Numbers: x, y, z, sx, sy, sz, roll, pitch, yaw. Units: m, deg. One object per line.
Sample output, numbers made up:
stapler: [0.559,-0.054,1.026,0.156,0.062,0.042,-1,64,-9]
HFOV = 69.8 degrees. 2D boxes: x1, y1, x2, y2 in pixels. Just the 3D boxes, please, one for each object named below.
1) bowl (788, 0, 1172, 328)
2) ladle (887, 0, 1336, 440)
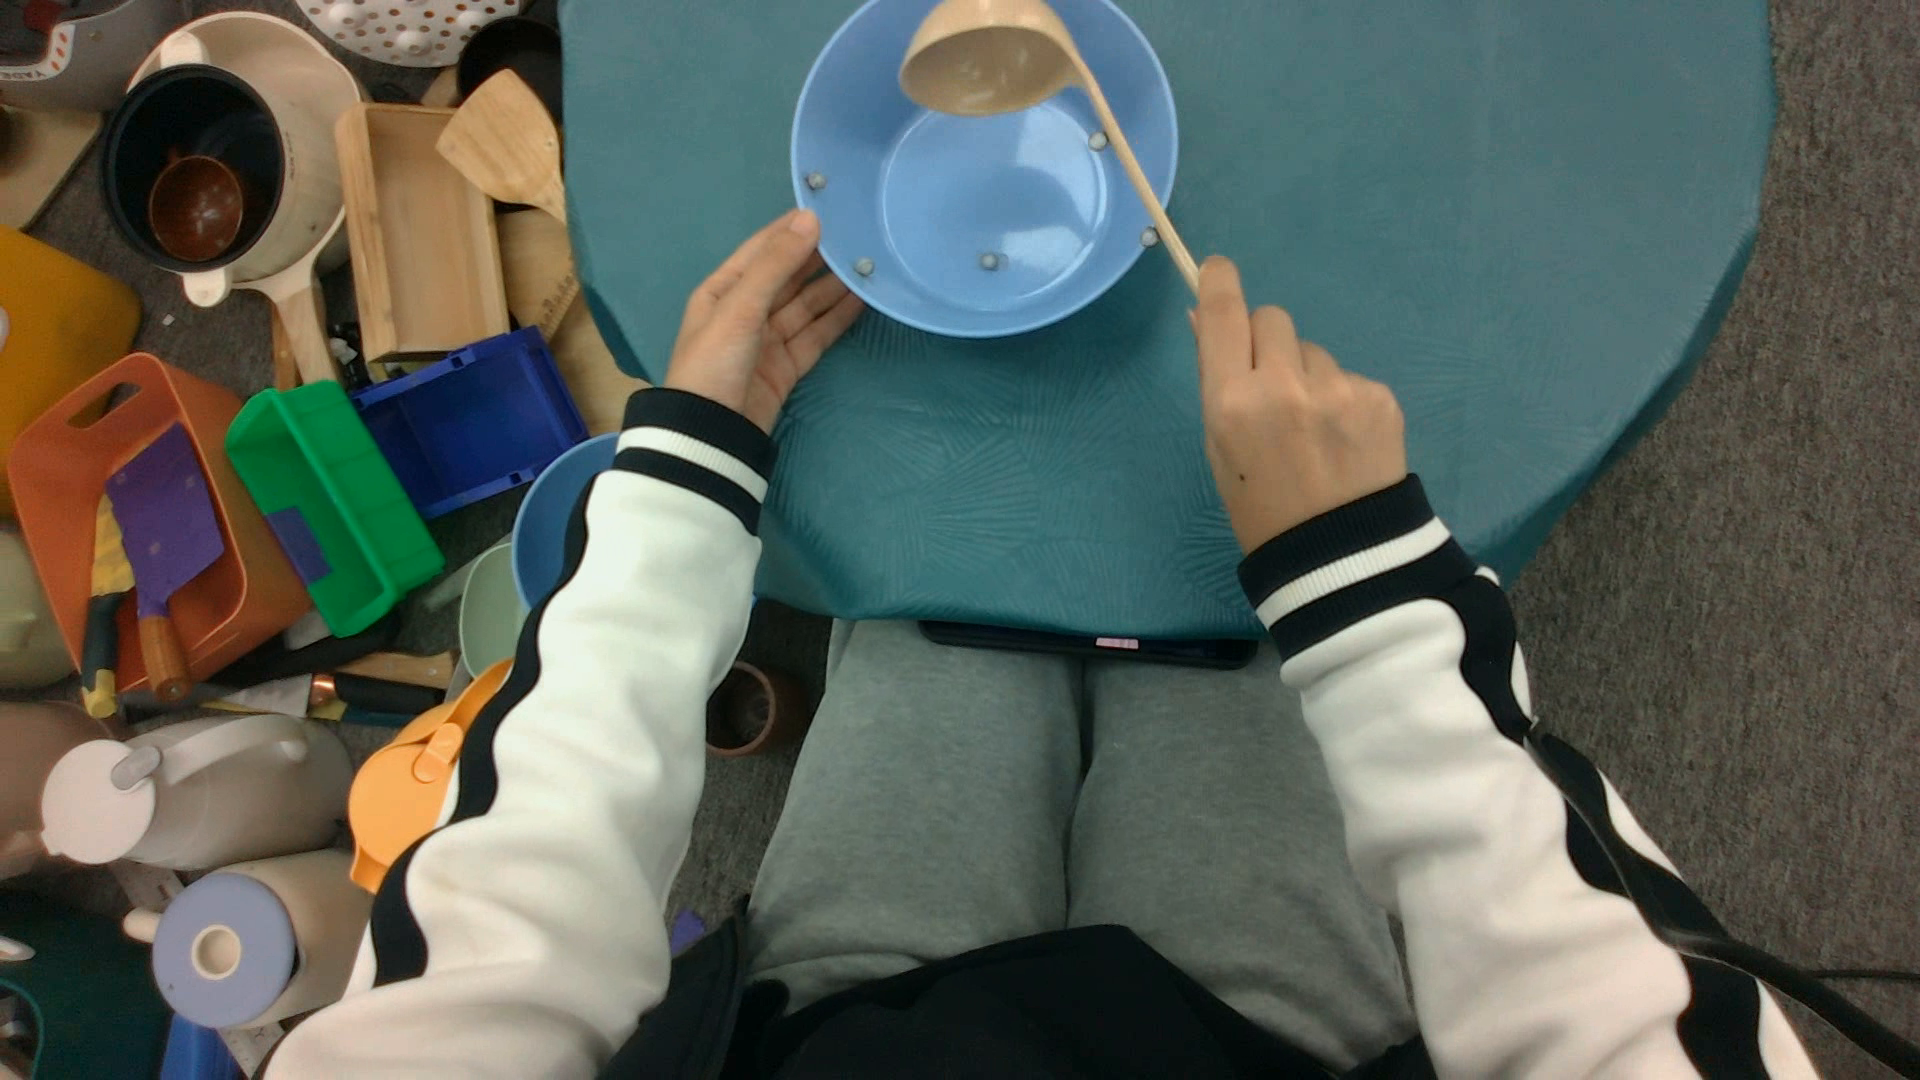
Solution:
bowl: [0.012,-0.178,0.654,0.176,0.070,0.176,-1,82,7]
ladle: [0.053,-0.126,0.564,0.073,0.072,0.255,-27,69,-5]
